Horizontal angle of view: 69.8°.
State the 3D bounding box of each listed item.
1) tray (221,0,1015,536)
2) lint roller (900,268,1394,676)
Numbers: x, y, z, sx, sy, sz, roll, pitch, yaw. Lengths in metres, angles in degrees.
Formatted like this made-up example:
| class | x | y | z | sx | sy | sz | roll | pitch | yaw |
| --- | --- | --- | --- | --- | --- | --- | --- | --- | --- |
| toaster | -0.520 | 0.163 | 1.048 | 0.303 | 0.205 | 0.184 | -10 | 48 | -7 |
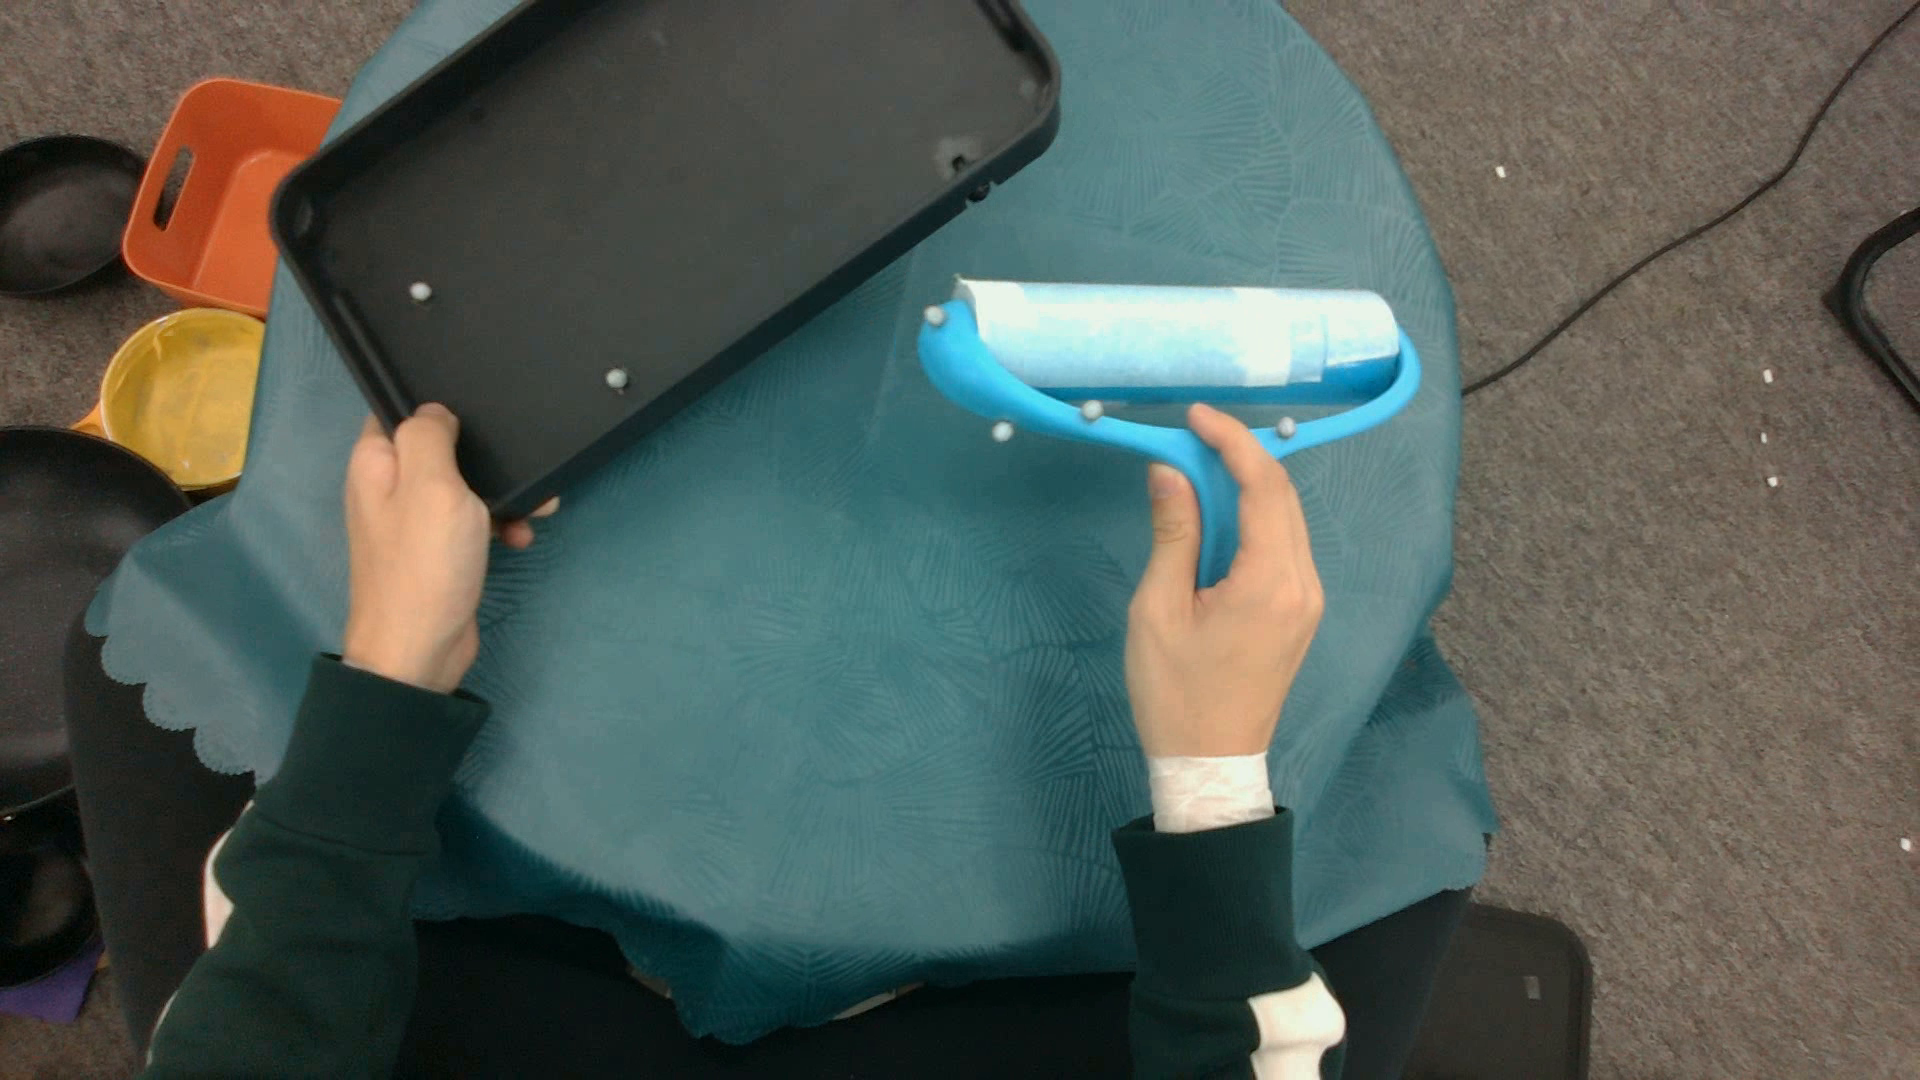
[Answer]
| class | x | y | z | sx | sy | sz | roll | pitch | yaw |
| --- | --- | --- | --- | --- | --- | --- | --- | --- | --- |
| tray | -0.147 | -0.159 | 0.601 | 0.318 | 0.037 | 0.184 | -37 | 82 | -1 |
| lint roller | 0.095 | -0.035 | 0.595 | 0.229 | 0.067 | 0.180 | -6 | 78 | -21 |
